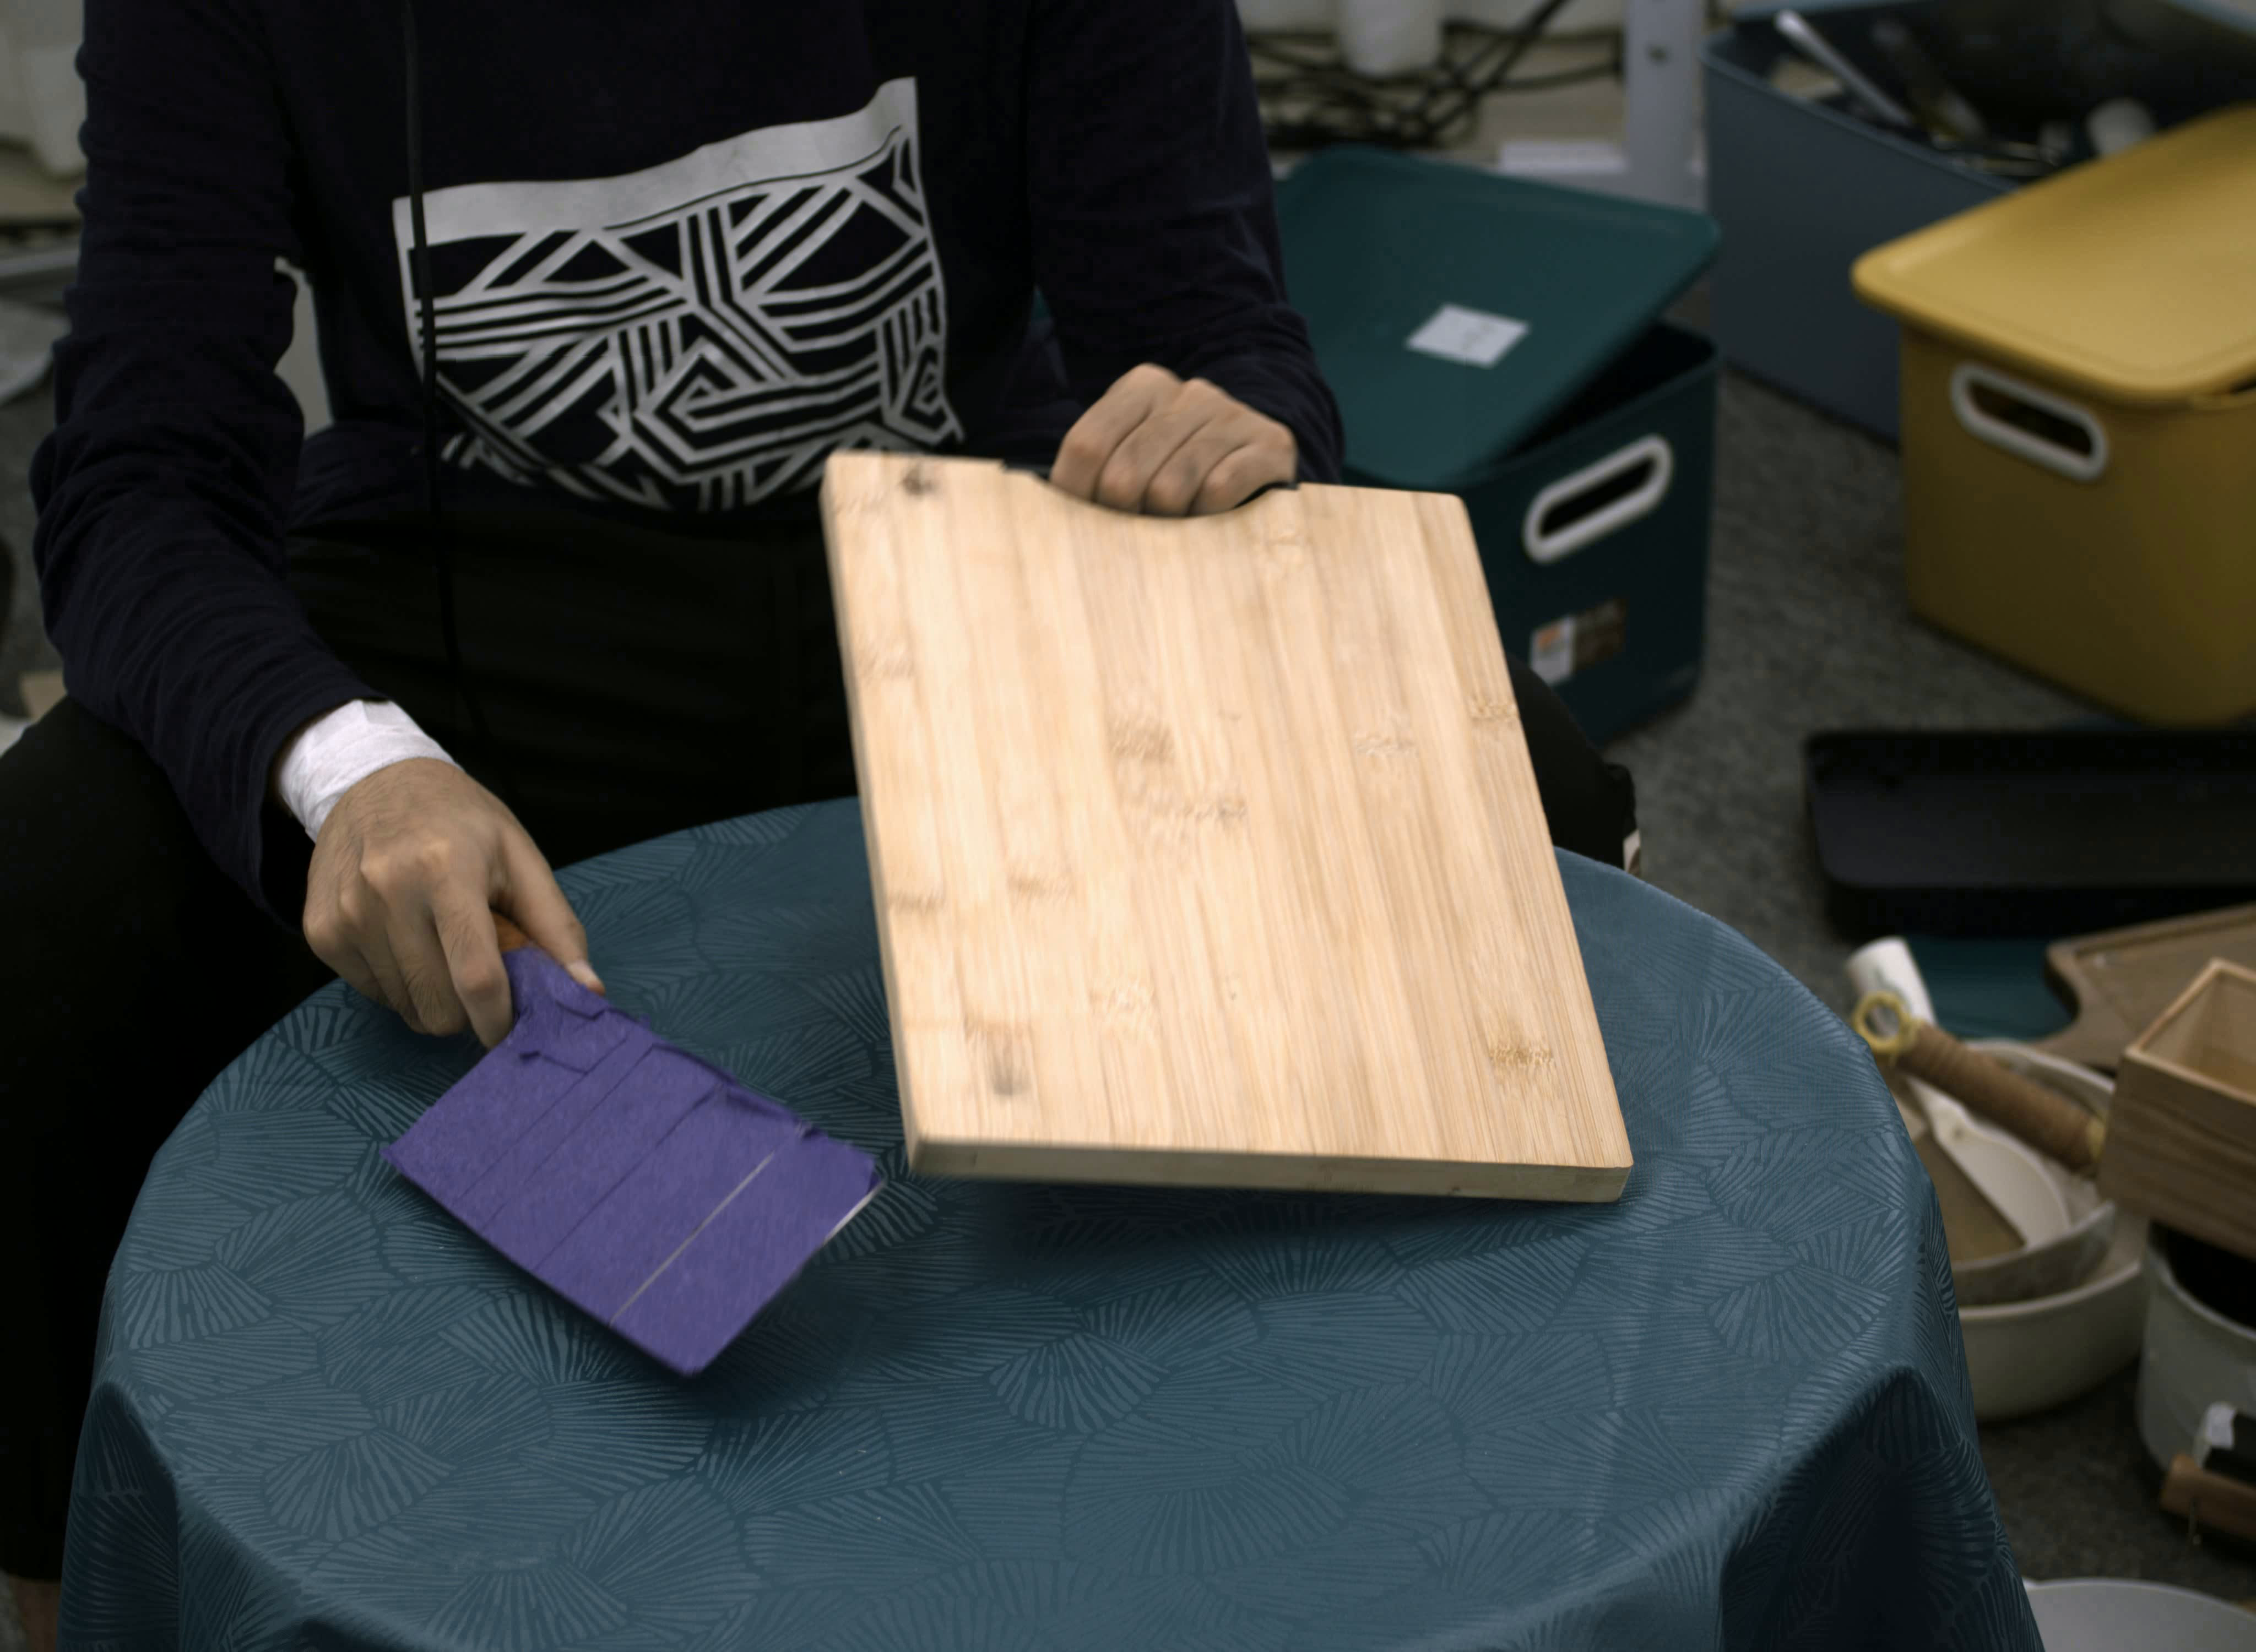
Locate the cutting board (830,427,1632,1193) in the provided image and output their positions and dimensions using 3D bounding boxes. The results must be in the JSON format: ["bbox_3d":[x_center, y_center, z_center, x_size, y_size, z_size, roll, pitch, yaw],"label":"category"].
[{"bbox_3d":[0.028,-0.011,1.939,0.250,0.023,0.355,4,42,-14],"label":"cutting board"}]

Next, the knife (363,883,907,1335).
[{"bbox_3d":[-0.192,0.091,1.857,0.105,0.032,0.315,-43,34,-18],"label":"knife"}]
